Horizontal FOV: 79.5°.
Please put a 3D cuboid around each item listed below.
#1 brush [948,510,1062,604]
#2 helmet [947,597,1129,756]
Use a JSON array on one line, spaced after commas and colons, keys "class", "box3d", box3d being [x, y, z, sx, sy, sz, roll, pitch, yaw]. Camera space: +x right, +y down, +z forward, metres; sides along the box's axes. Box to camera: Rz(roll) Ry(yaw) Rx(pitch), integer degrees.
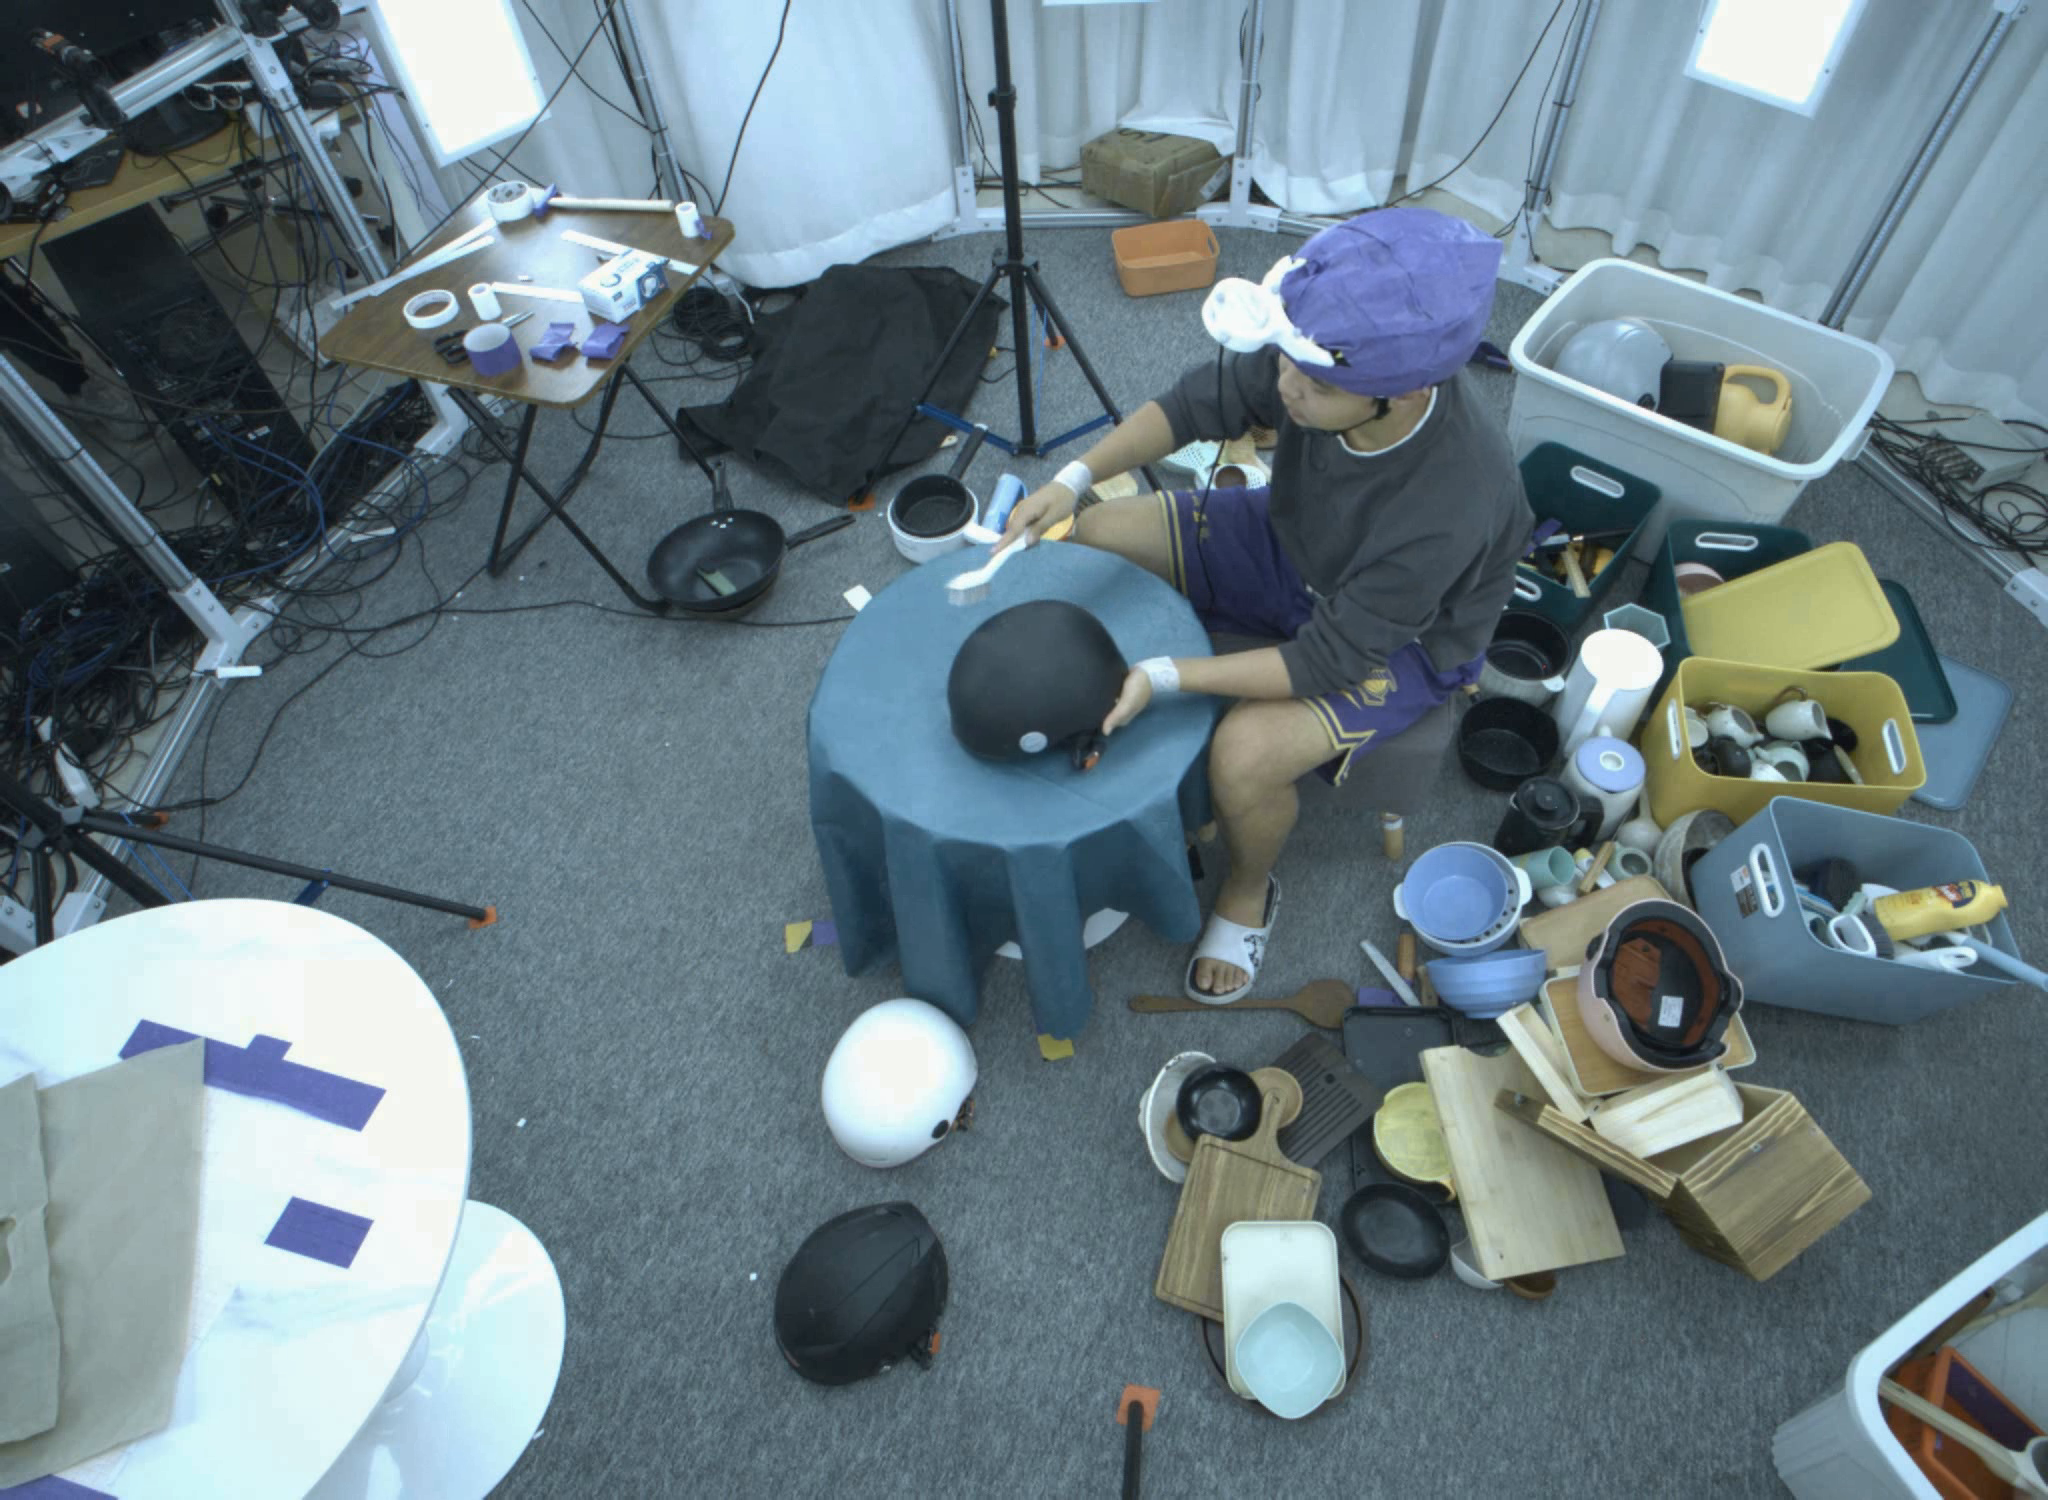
[{"class": "brush", "box3d": [-0.023, -0.285, 1.819, 0.033, 0.051, 0.246, 15, 44, 43]}, {"class": "helmet", "box3d": [0.011, -0.121, 1.767, 0.274, 0.169, 0.226, -18, 46, -5]}]
